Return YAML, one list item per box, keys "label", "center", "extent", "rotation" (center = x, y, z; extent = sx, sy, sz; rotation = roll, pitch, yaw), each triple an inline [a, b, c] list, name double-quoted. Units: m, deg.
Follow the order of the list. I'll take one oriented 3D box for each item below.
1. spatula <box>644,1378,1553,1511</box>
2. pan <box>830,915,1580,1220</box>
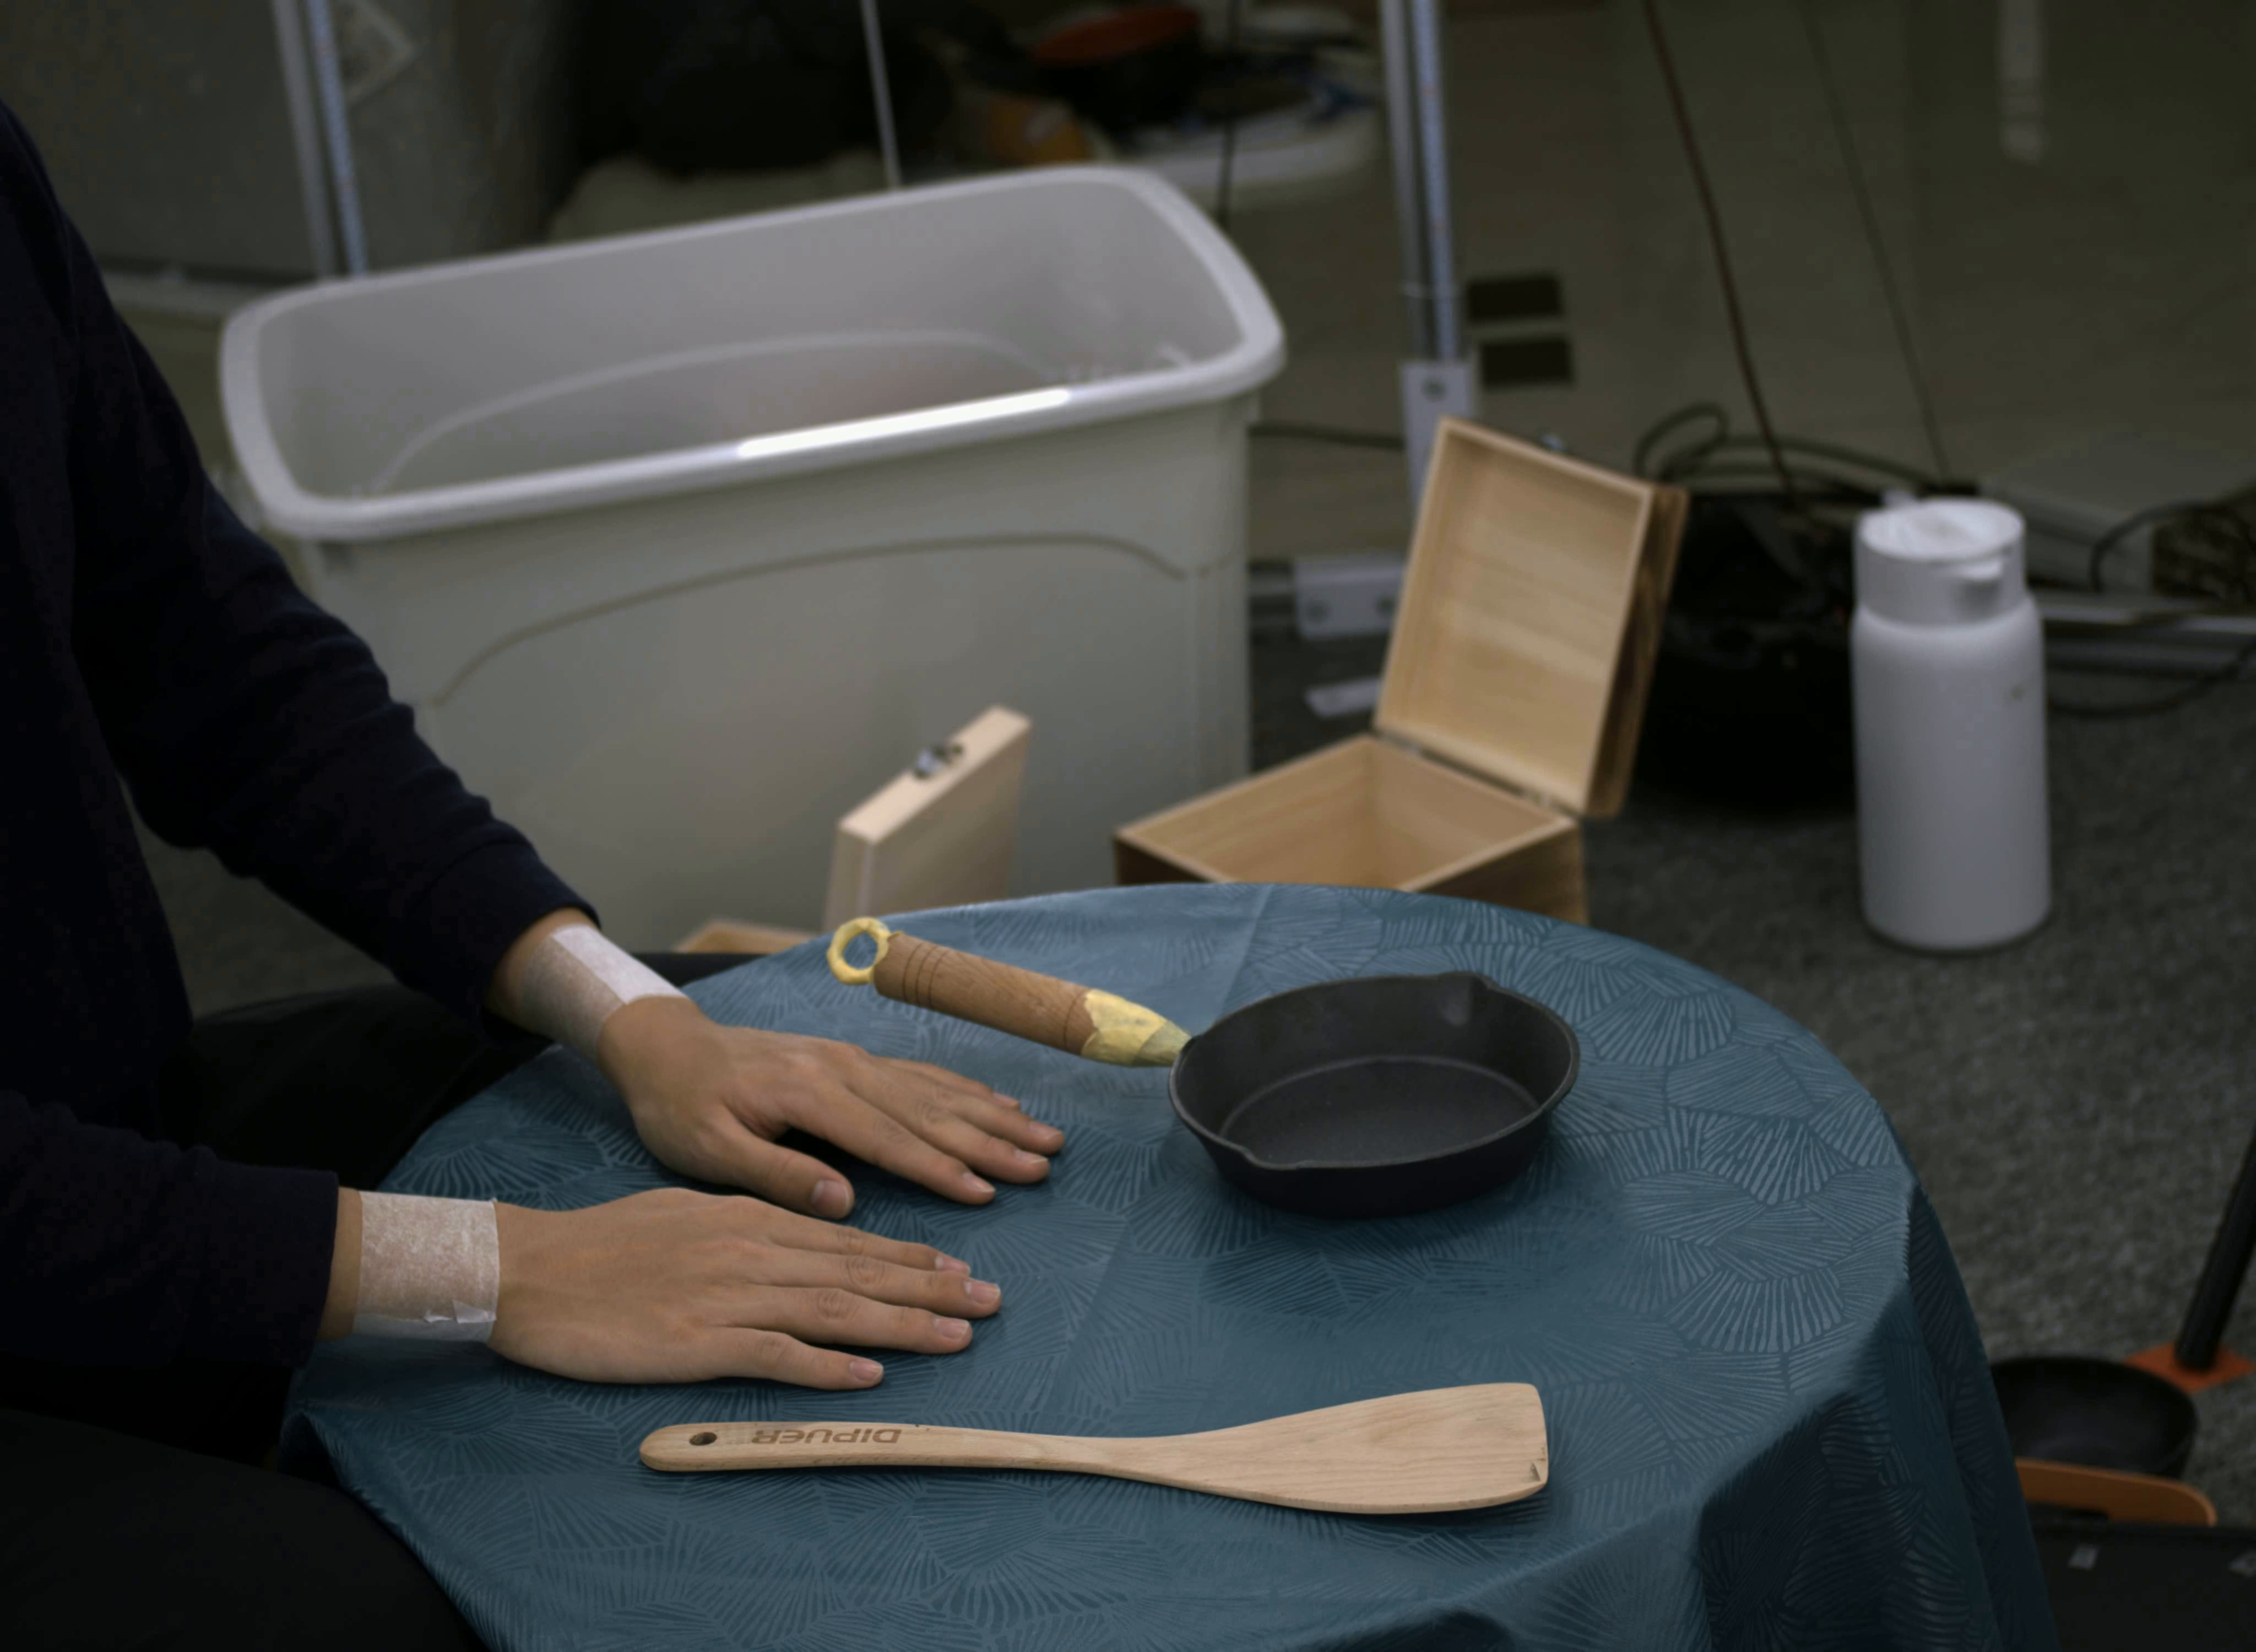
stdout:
- label: "spatula"
  center: [-0.011, 0.214, 1.971]
  extent: [0.327, 0.017, 0.079]
  rotation: [-1, 25, 12]
- label: "pan"
  center: [0.022, 0.085, 2.196]
  extent: [0.322, 0.050, 0.167]
  rotation: [11, 31, 30]
